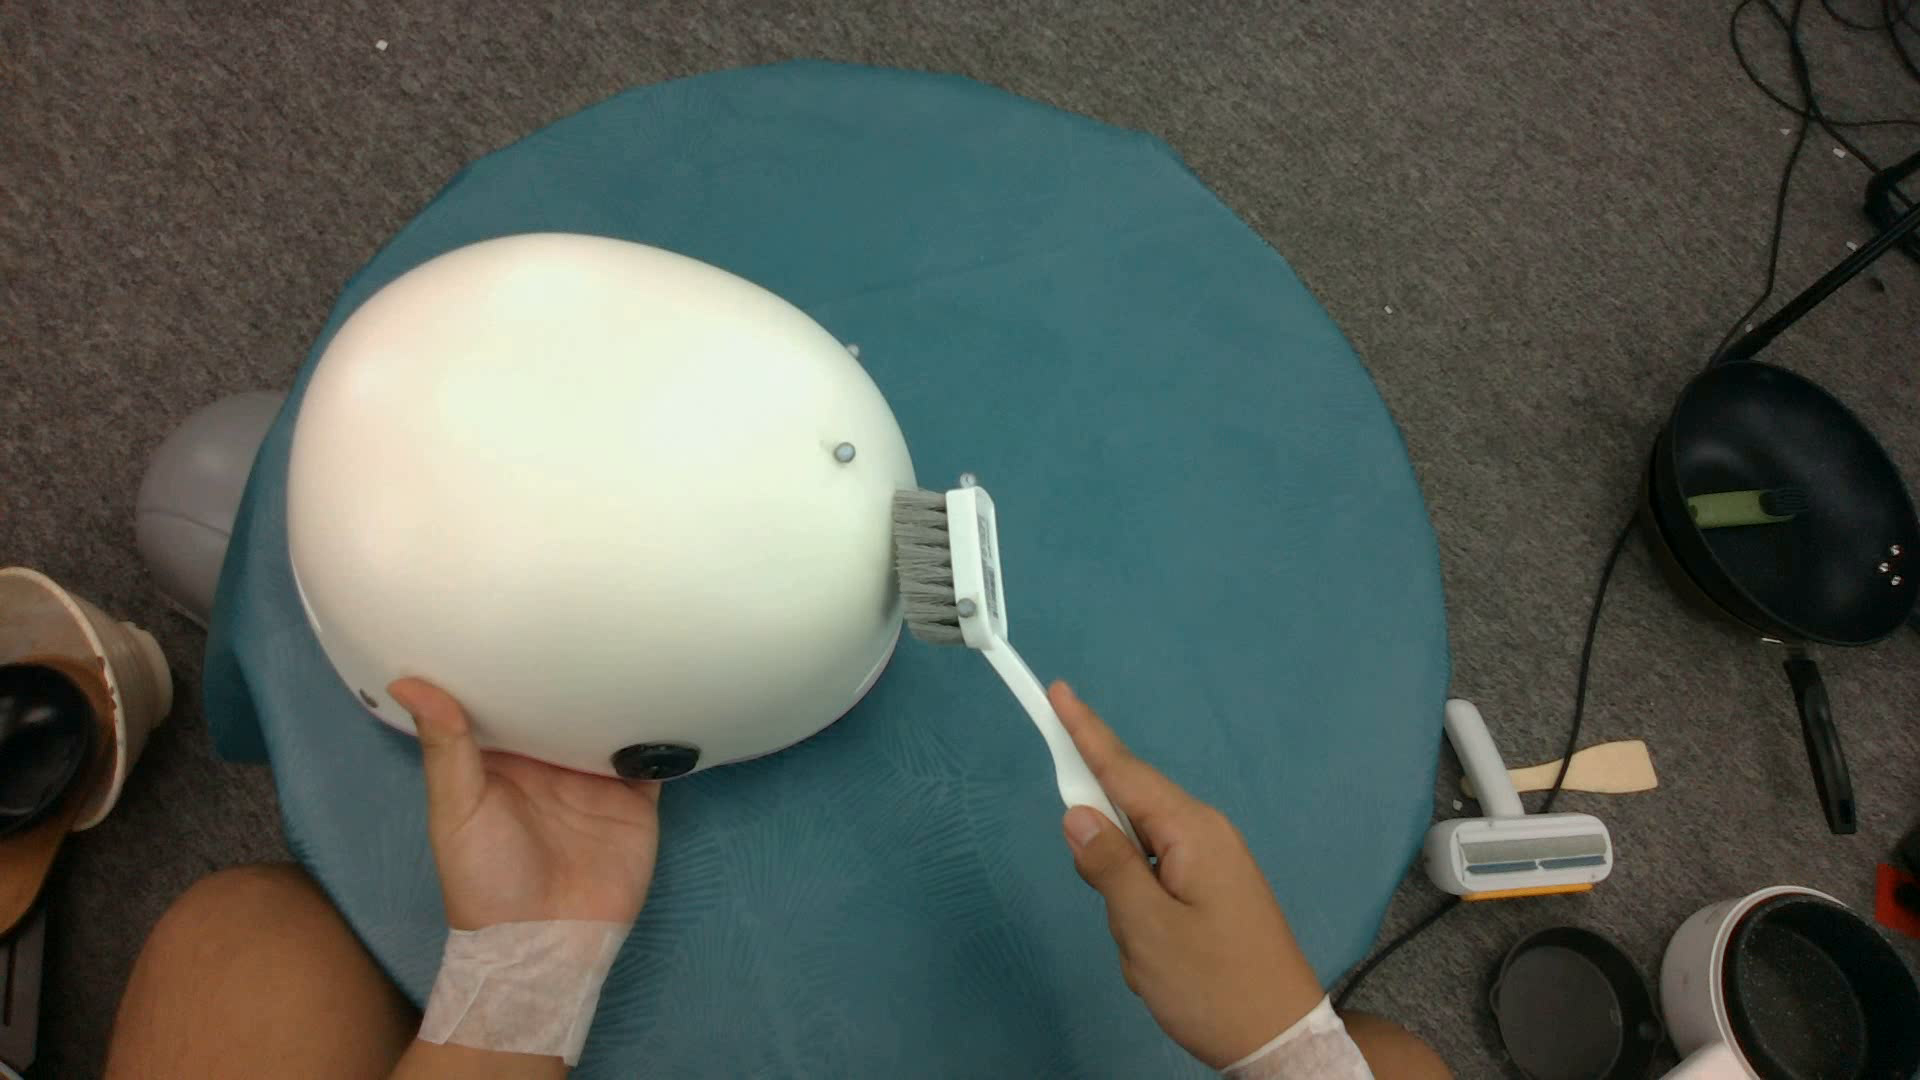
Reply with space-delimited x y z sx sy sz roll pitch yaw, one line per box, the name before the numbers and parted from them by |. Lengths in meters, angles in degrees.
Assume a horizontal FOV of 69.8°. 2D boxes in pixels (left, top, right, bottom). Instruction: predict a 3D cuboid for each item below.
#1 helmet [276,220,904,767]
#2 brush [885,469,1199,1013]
helmet | -0.148 -0.033 0.582 0.269 0.166 0.238 6 63 -10
brush | 0.026 0.078 0.555 0.050 0.034 0.244 -27 74 11
